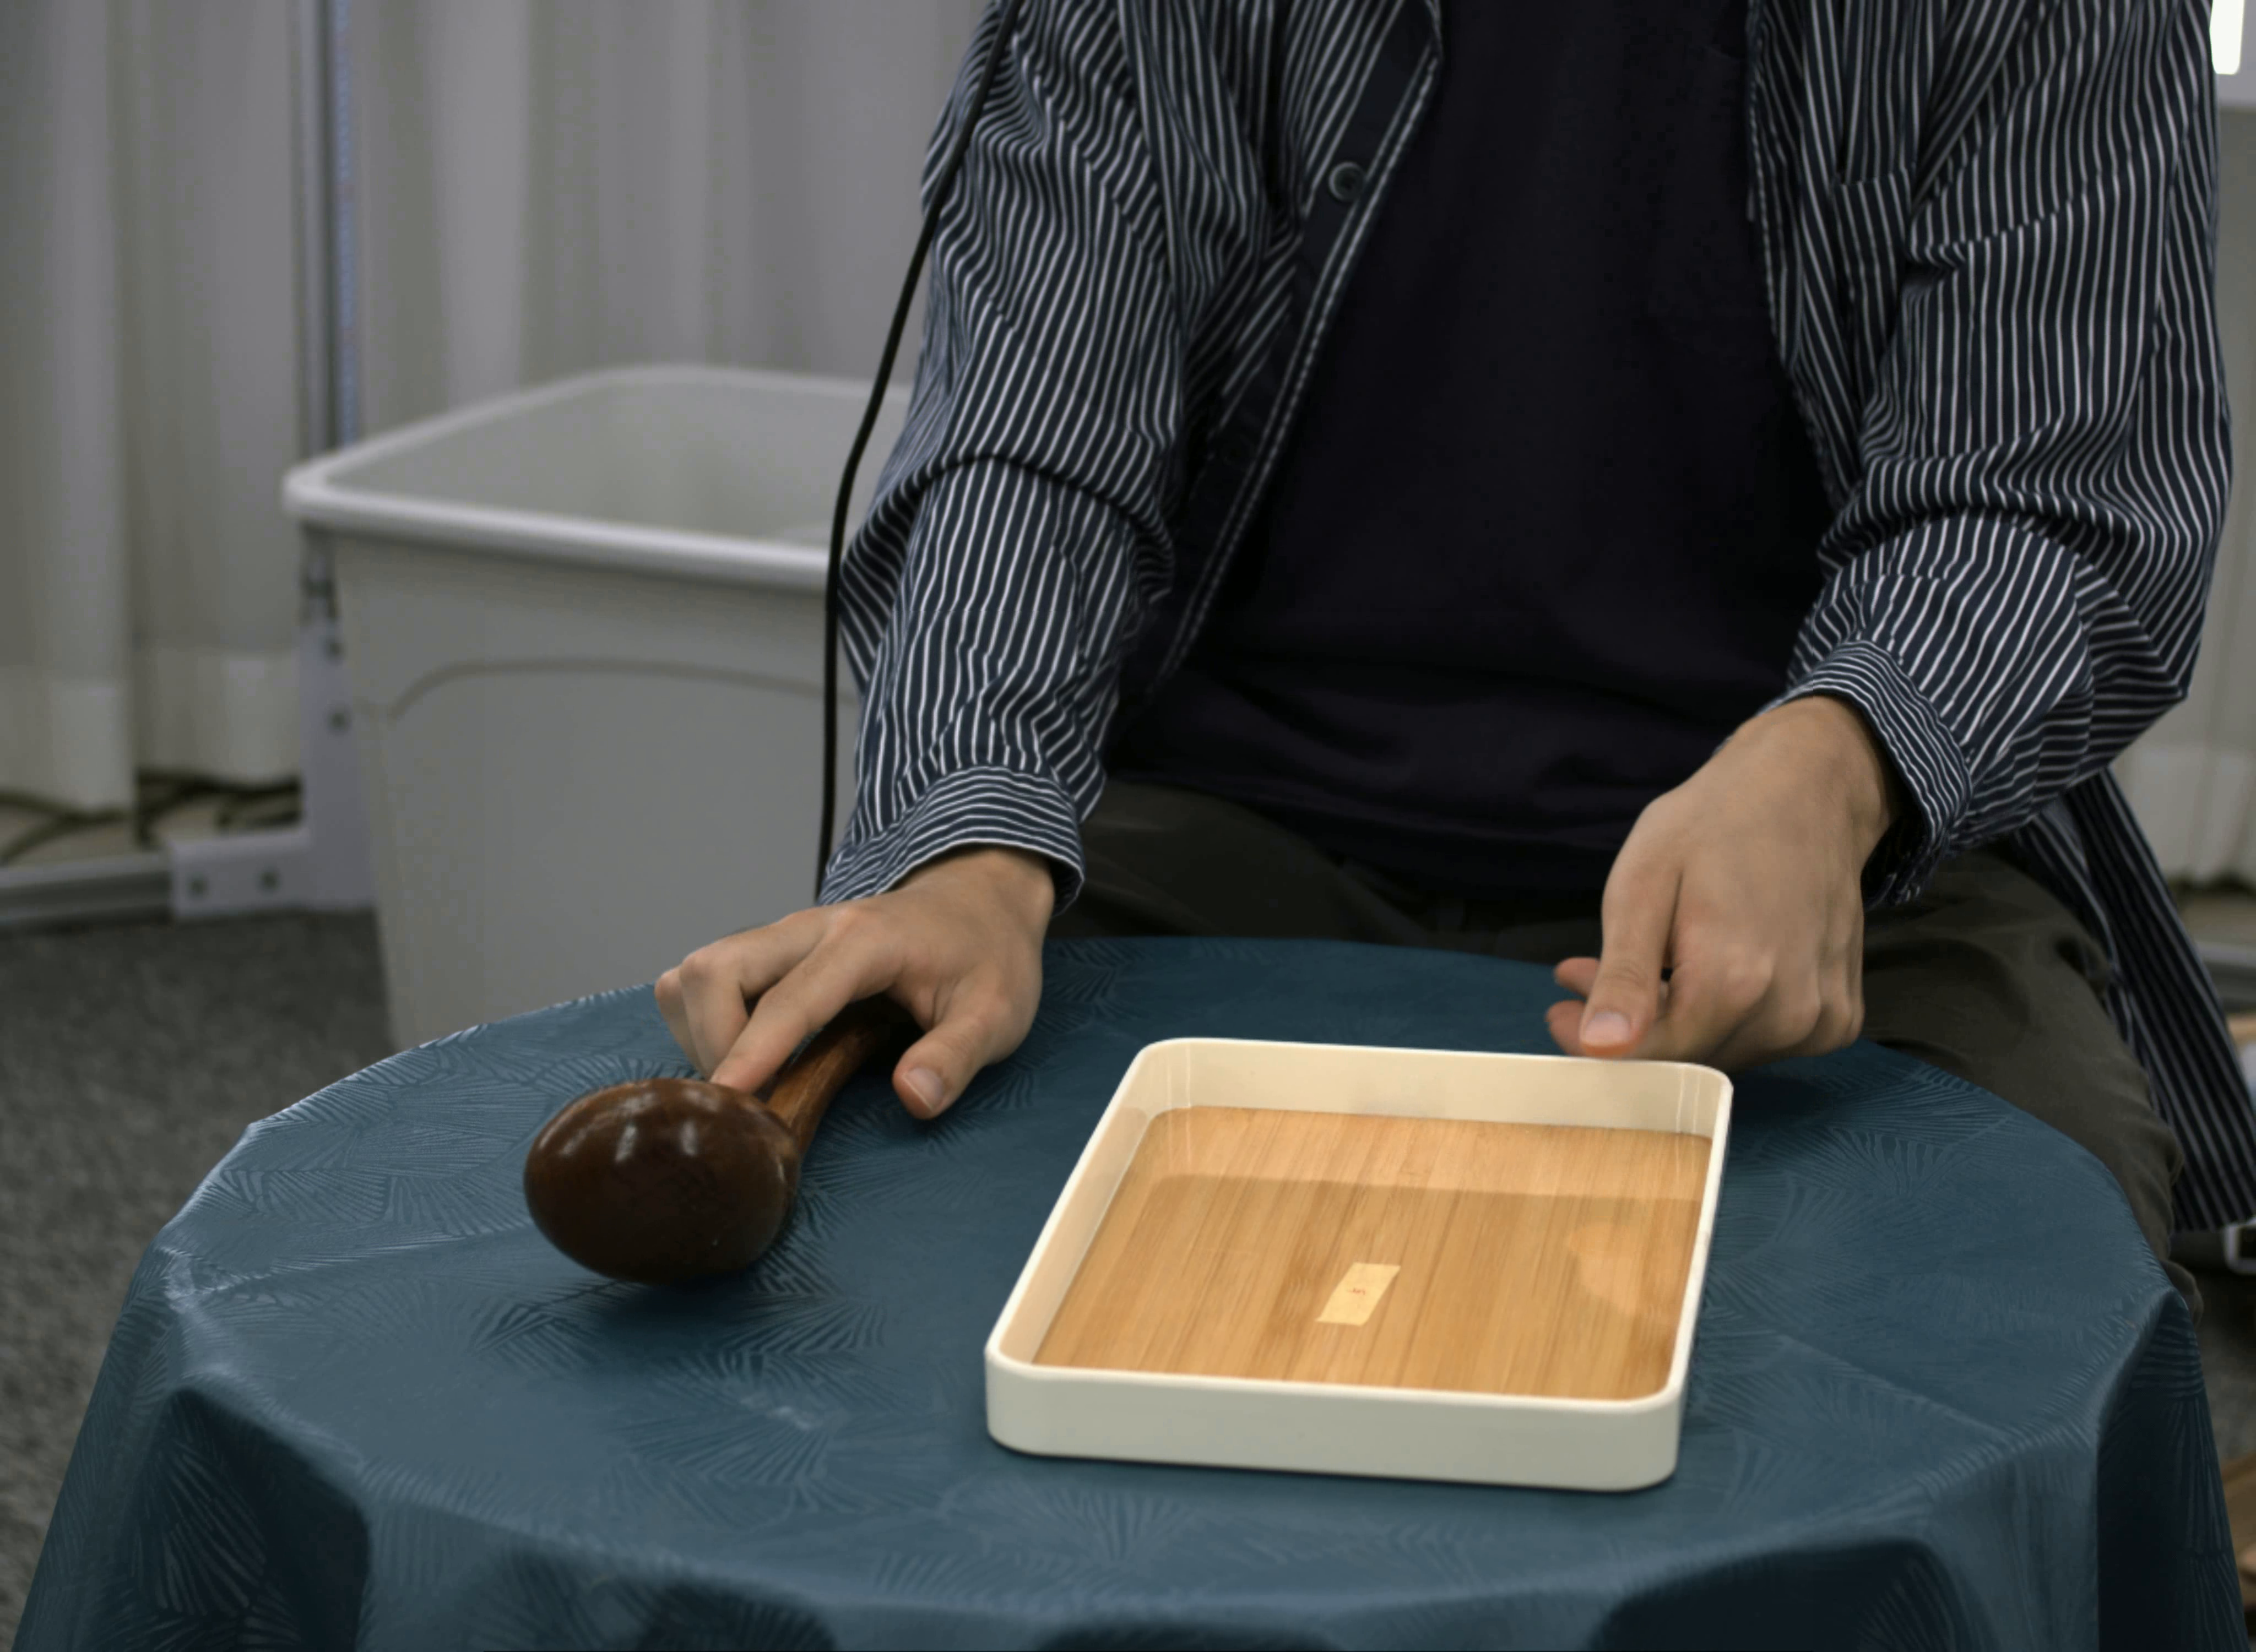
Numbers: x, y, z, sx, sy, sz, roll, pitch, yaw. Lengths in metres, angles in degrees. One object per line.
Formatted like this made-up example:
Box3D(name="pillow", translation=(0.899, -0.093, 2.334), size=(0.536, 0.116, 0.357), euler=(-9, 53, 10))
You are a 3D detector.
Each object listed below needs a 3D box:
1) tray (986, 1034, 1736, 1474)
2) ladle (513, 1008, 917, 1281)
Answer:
Box3D(name="tray", translation=(0.076, 0.121, 1.554), size=(0.190, 0.027, 0.299), euler=(3, 15, 9))
Box3D(name="ladle", translation=(-0.118, 0.075, 1.621), size=(0.081, 0.077, 0.273), euler=(-14, 13, 14))
